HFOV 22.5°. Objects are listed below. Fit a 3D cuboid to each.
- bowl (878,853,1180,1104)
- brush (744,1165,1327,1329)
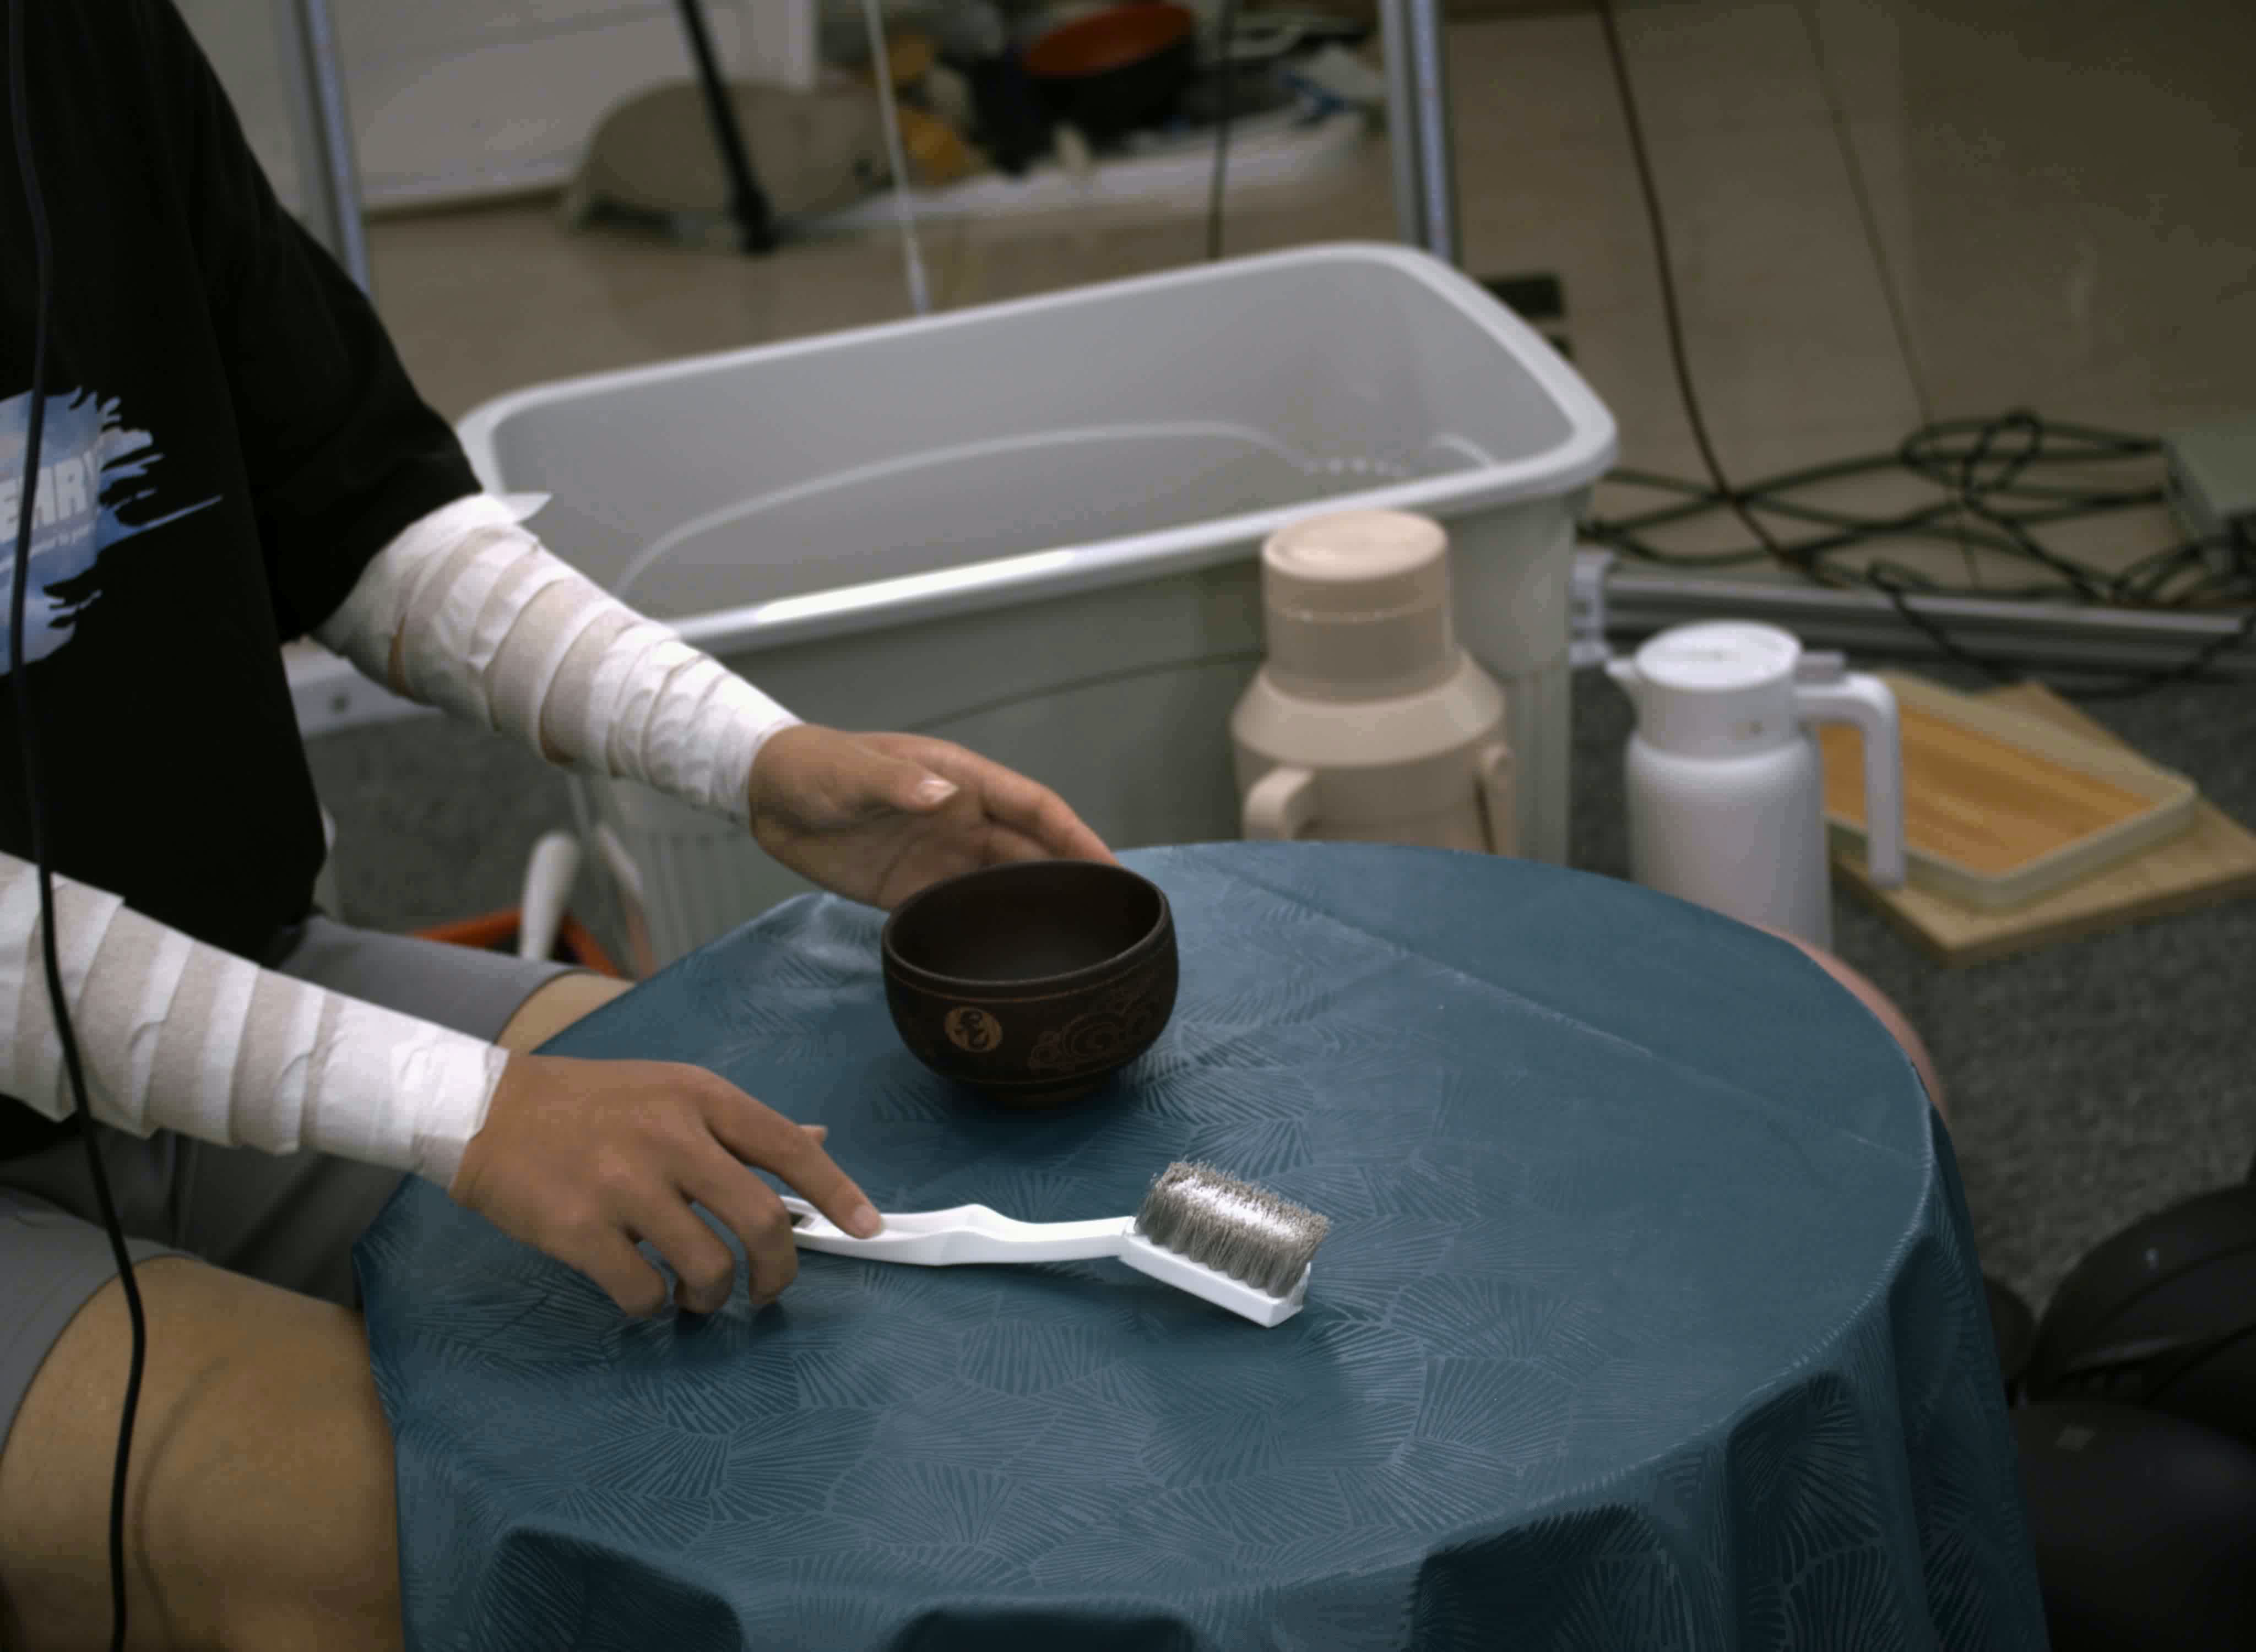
[{"bbox_3d":[-0.036,0.066,2.227,0.118,0.071,0.116,-7,25,4],"label":"bowl"},{"bbox_3d":[-0.039,0.141,2.092,0.242,0.051,0.034,8,28,28],"label":"brush"}]
